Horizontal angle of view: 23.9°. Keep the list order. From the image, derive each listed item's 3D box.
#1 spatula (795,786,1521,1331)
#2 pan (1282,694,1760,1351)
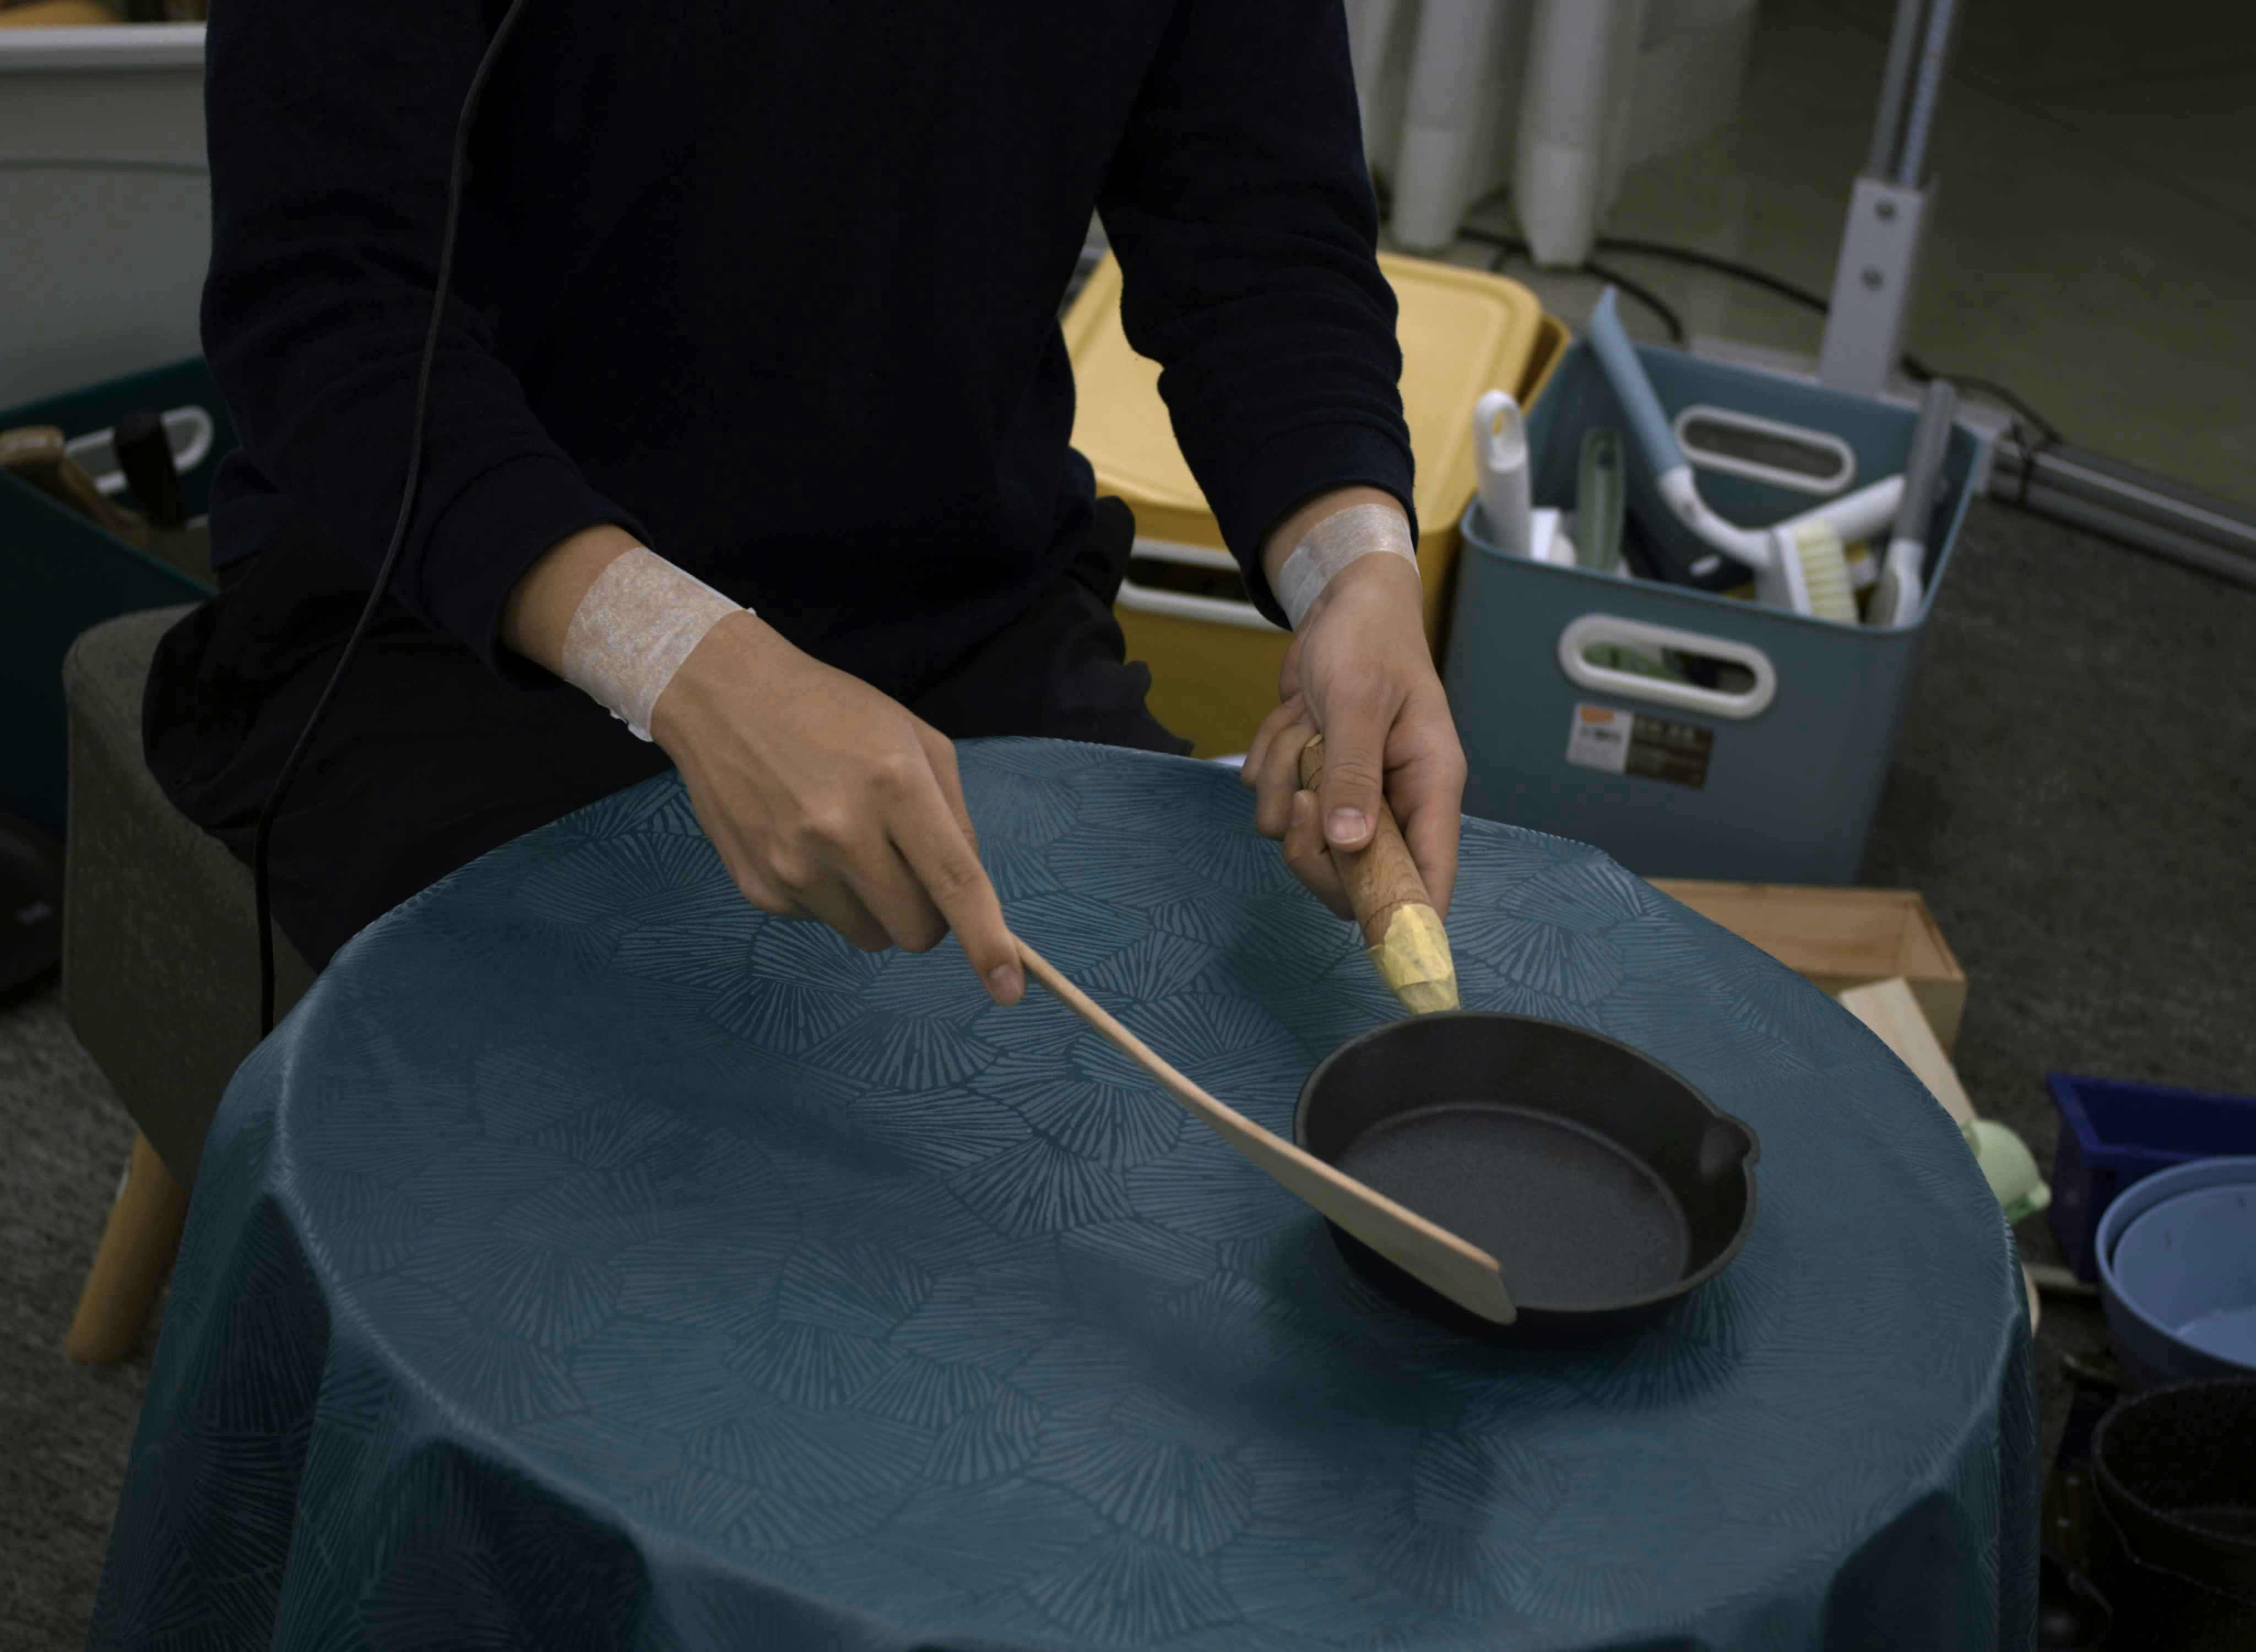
[{"bbox_3d":[0.006,0.072,1.740,0.330,0.079,0.016,36,81,30],"label":"spatula"},{"bbox_3d":[0.110,0.066,1.842,0.168,0.049,0.327,-2,38,-16],"label":"pan"}]
